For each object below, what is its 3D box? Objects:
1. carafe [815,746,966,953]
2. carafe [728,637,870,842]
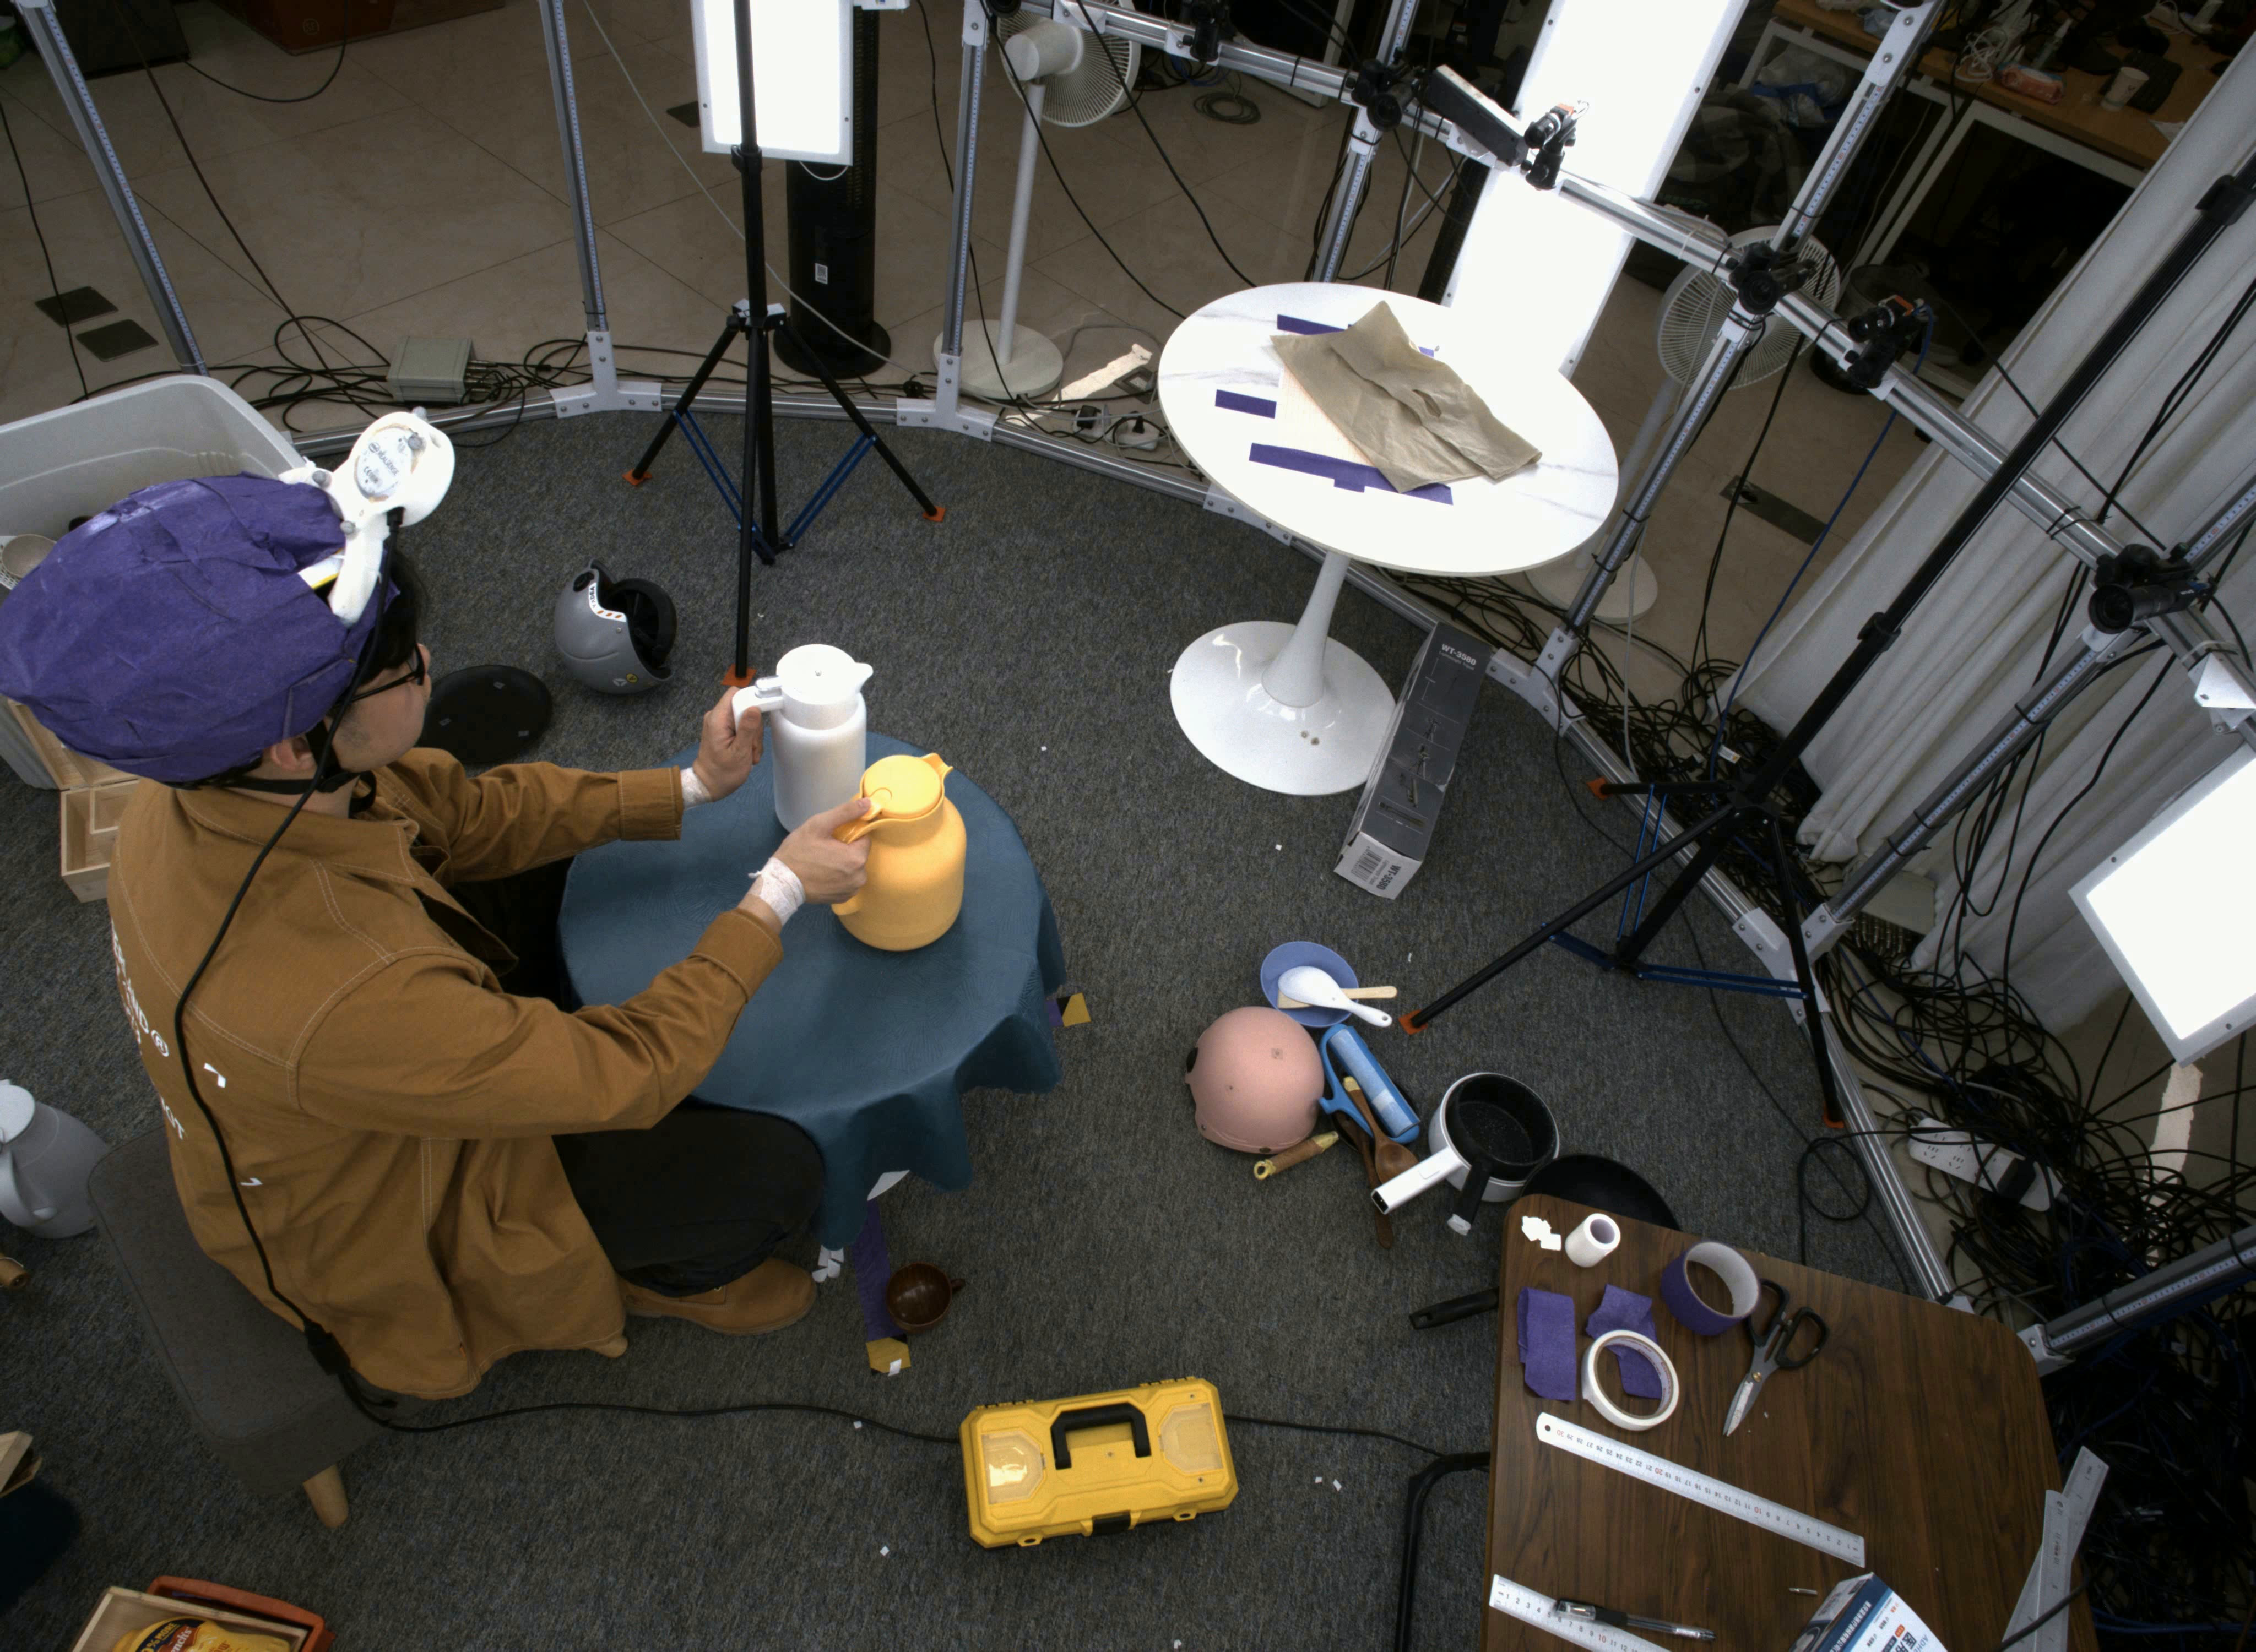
[{"bbox_3d":[-0.290,0.031,1.561,0.159,0.267,0.203,37,53,21],"label":"carafe"},{"bbox_3d":[-0.408,-0.100,1.627,0.173,0.274,0.121,-15,59,-22],"label":"carafe"}]
